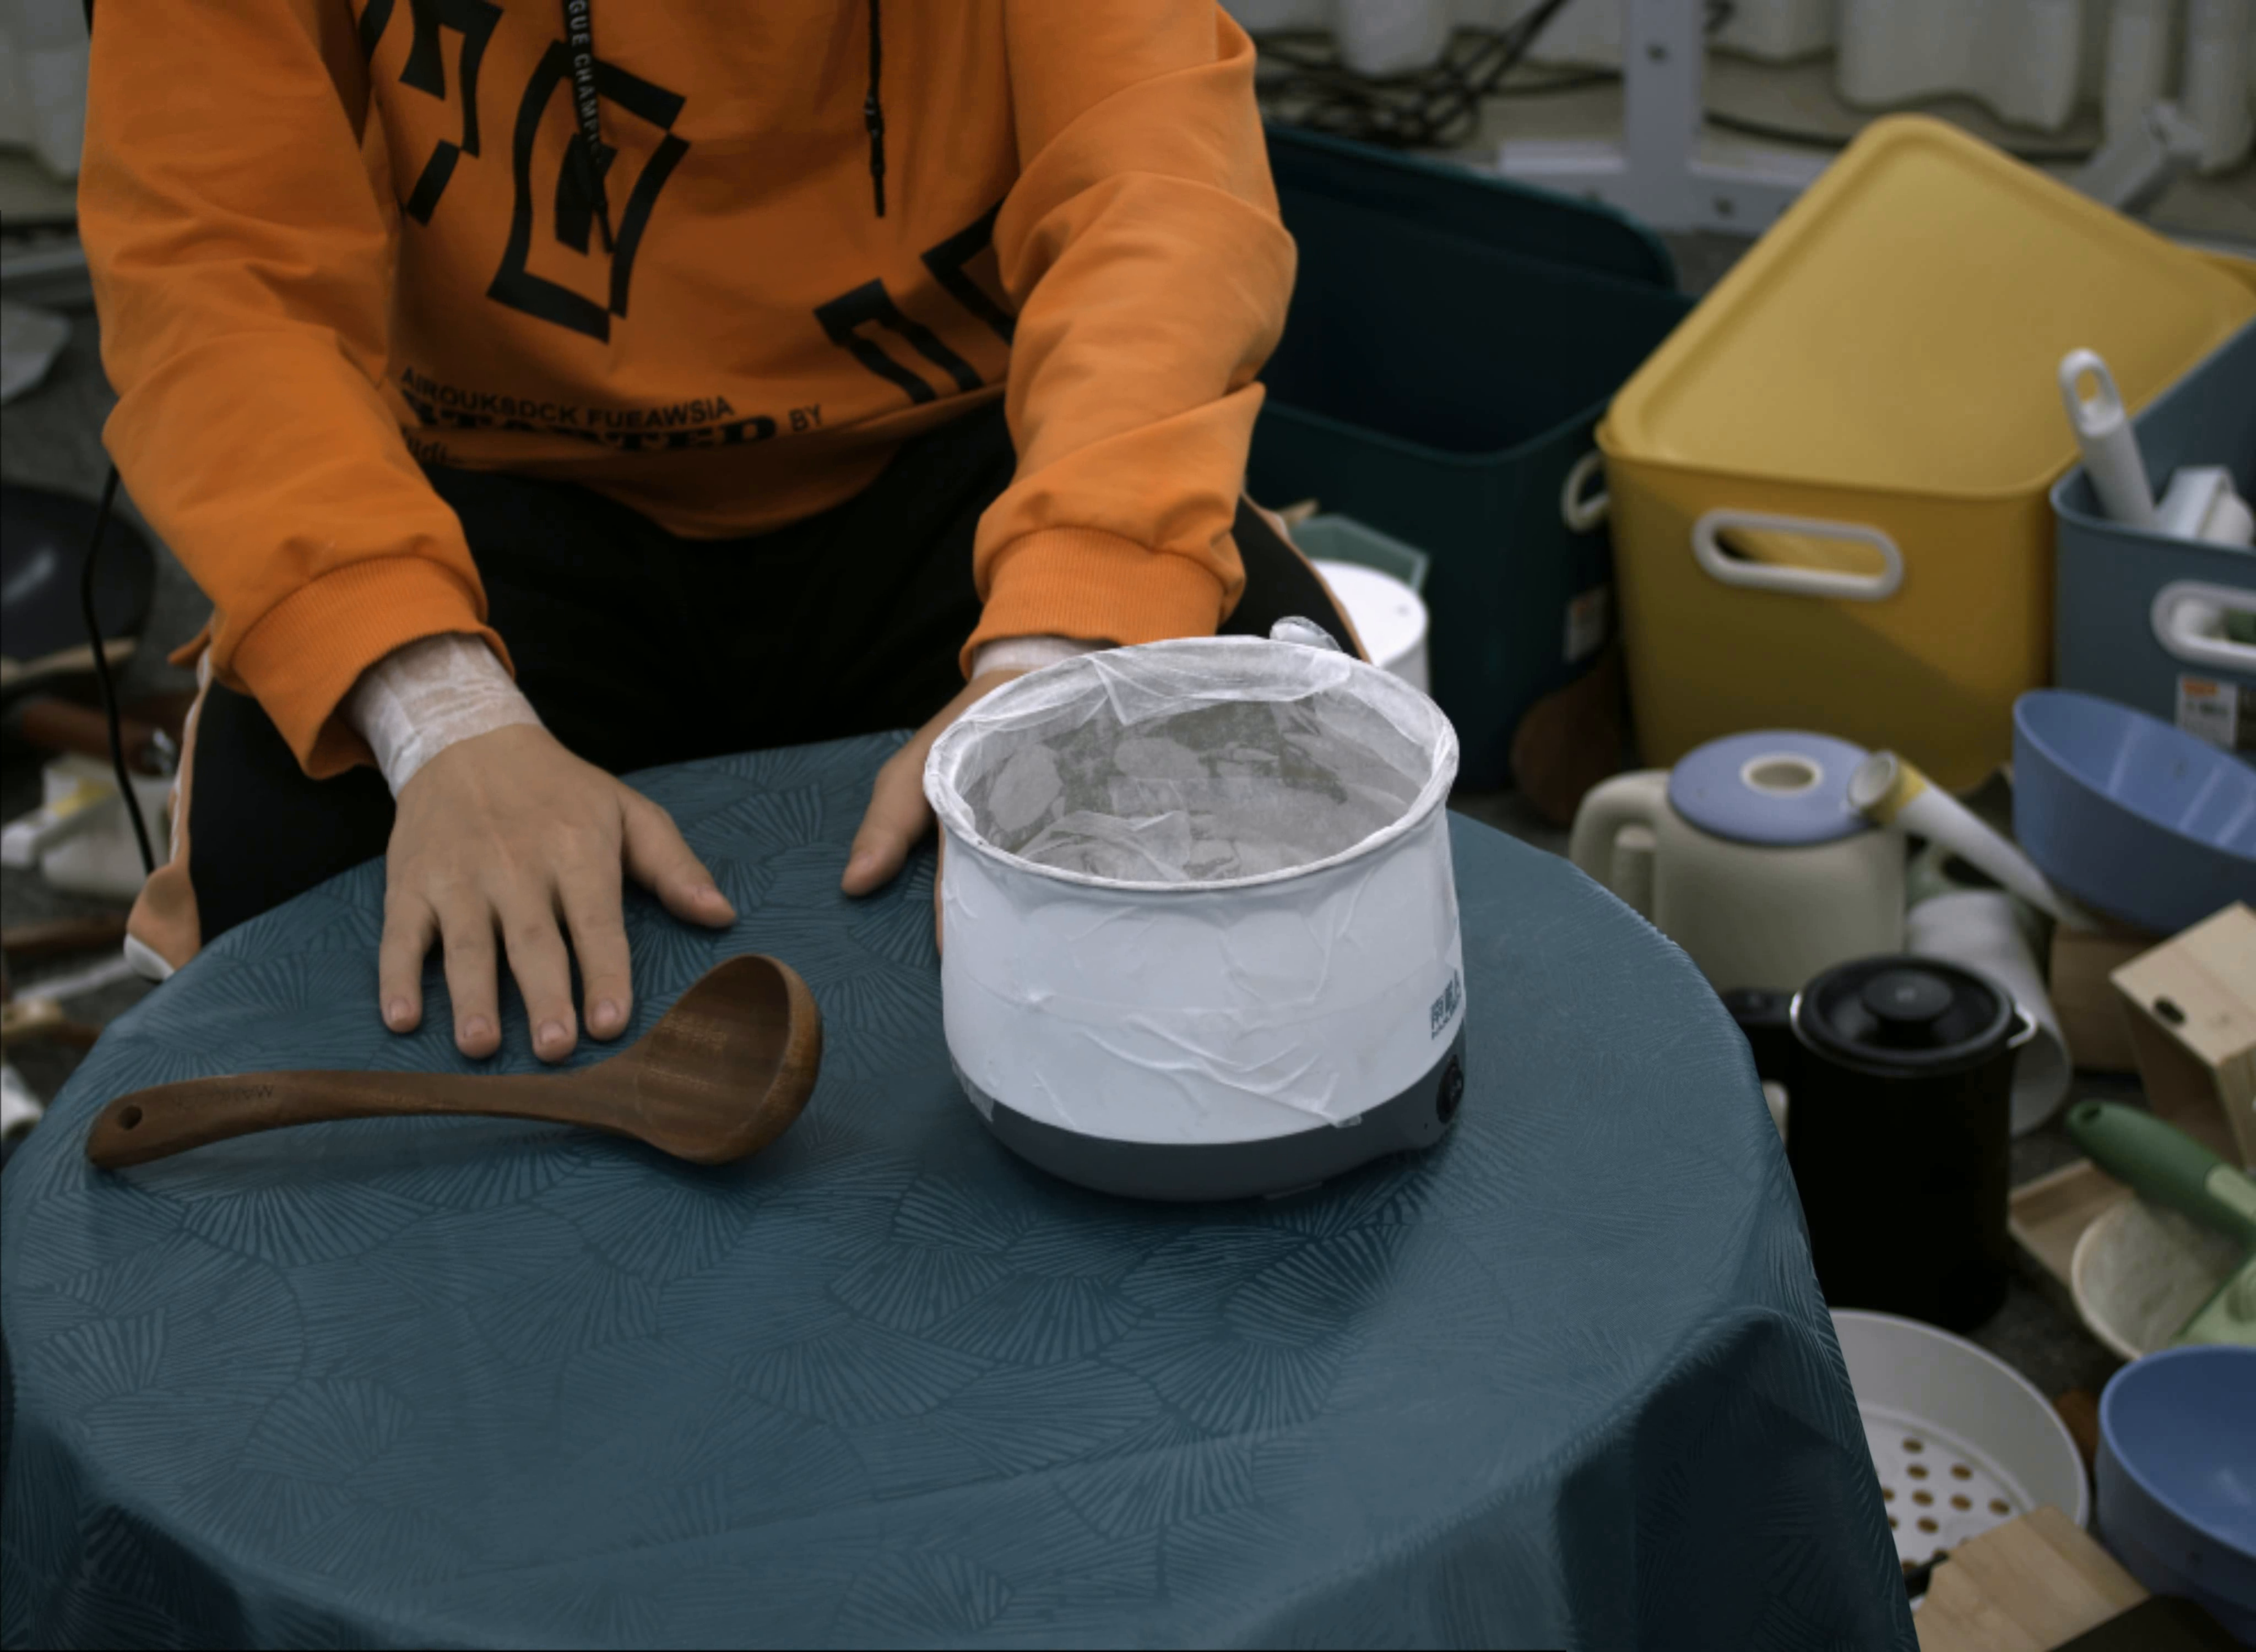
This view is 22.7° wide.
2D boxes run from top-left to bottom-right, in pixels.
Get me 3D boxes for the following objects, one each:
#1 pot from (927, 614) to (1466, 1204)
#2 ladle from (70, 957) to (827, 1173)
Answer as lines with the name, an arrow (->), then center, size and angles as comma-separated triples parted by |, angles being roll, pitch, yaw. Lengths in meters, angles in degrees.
pot -> 0.034, 0.020, 1.906 | 0.177, 0.135, 0.238 | 7, 29, 19
ladle -> -0.230, 0.086, 1.888 | 0.259, 0.064, 0.078 | -3, 48, -1
